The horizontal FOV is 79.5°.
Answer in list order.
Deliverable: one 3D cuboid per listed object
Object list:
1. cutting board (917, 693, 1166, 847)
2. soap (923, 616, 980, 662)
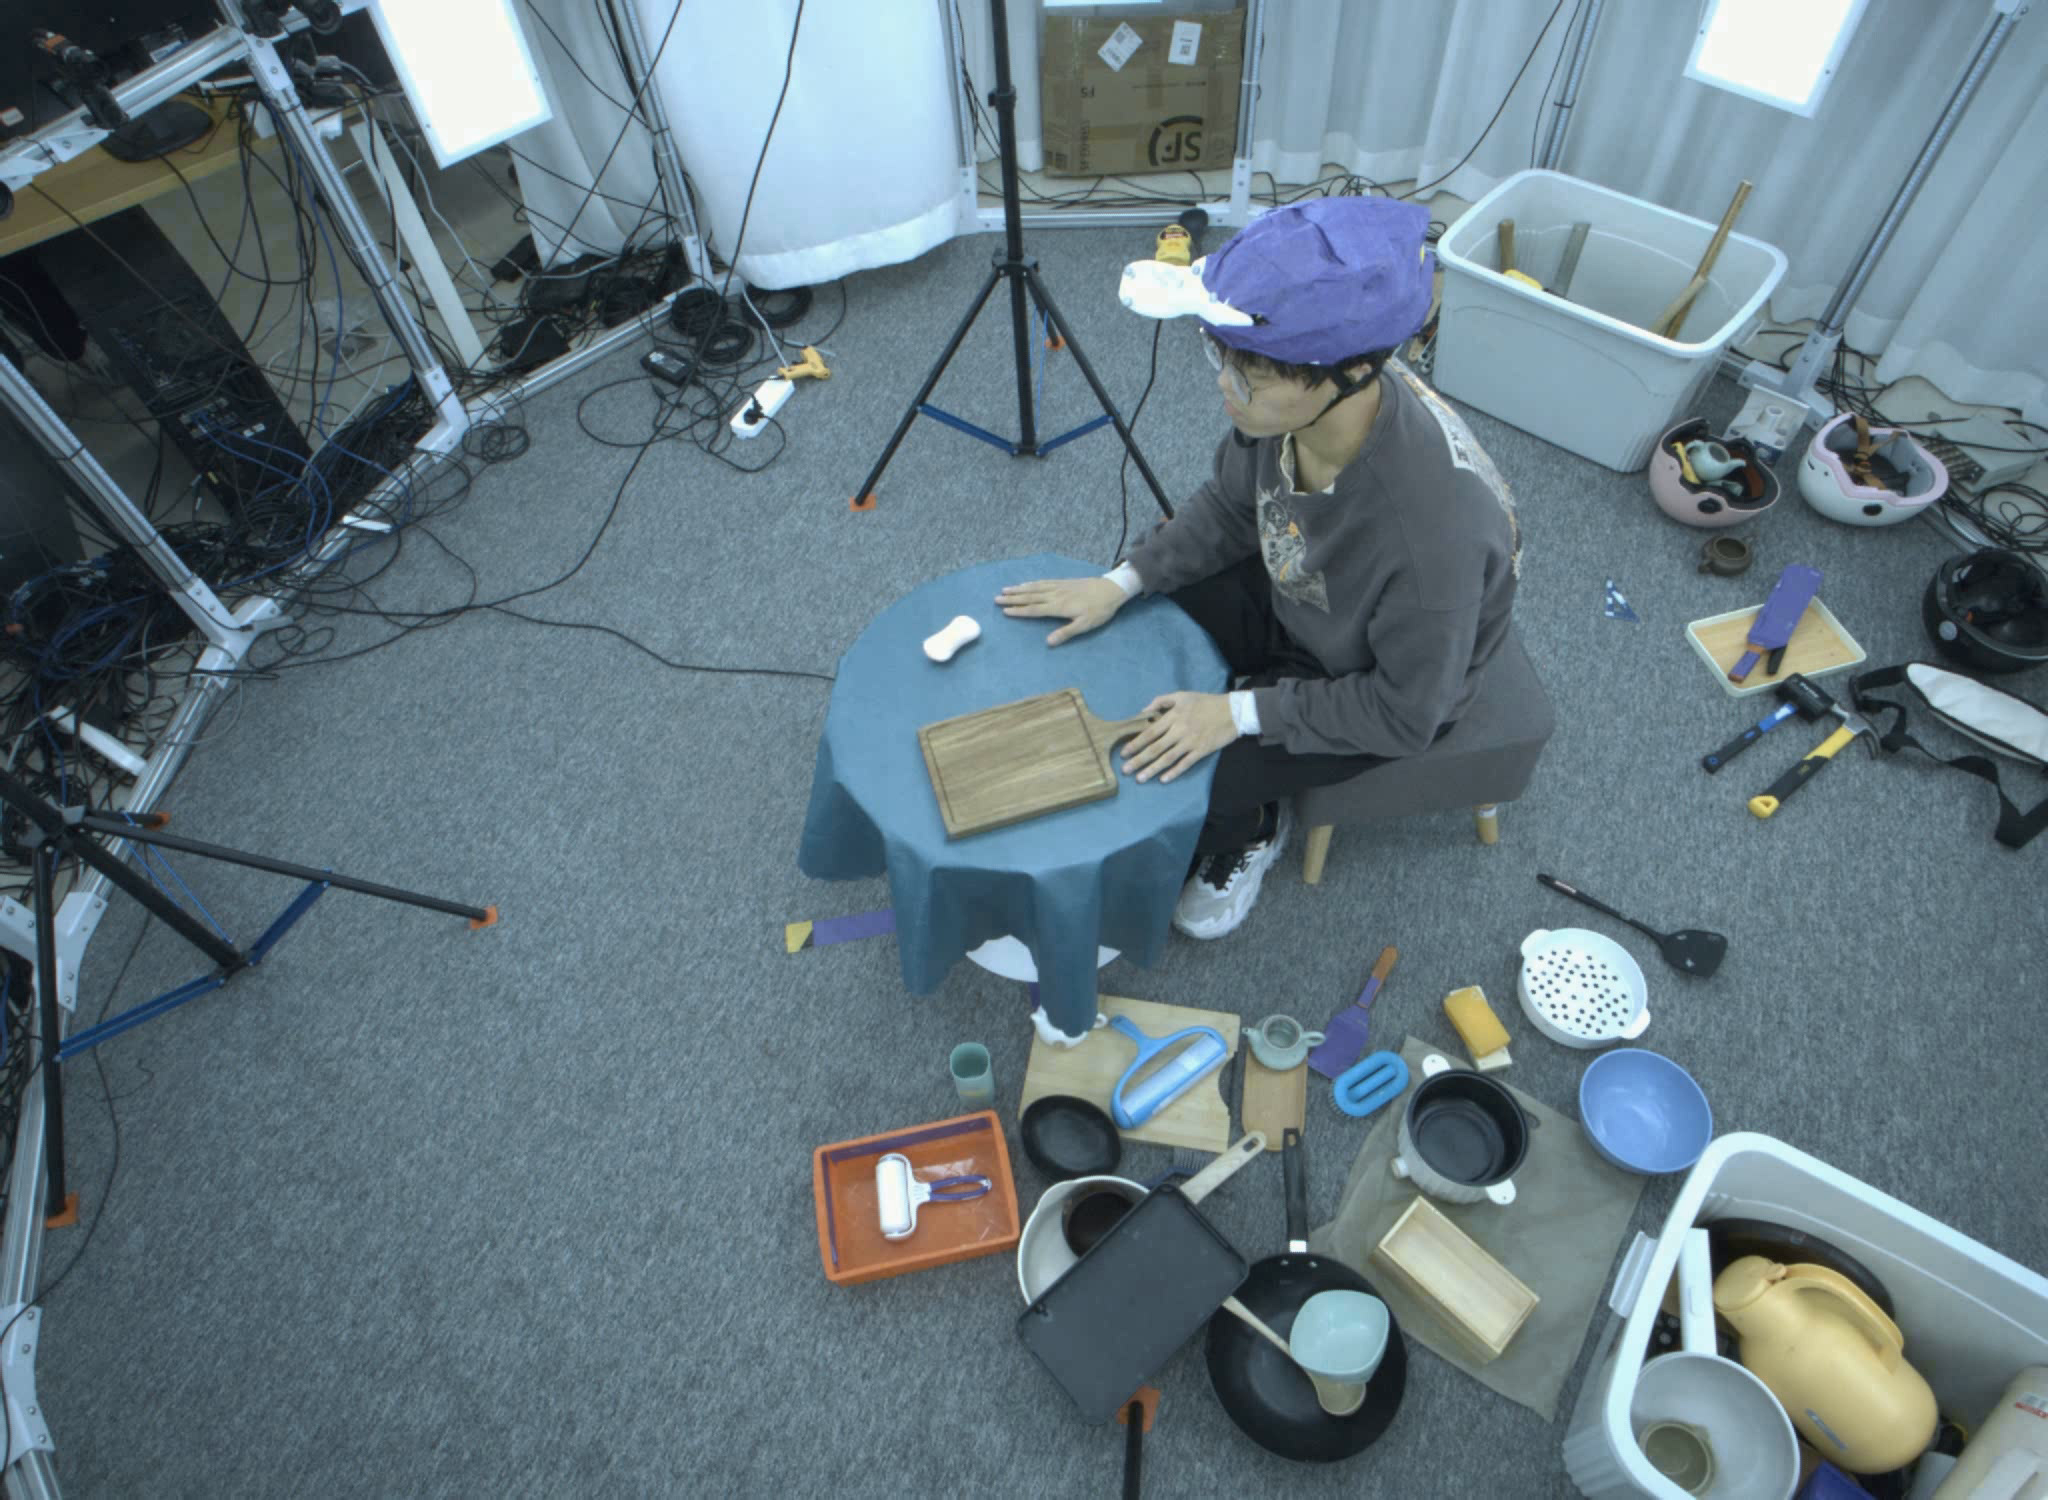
[{"bbox_3d":[0.036,0.012,1.762,0.354,0.023,0.198,-14,55,-8],"label":"cutting board"},{"bbox_3d":[-0.112,-0.172,1.895,0.095,0.030,0.049,-39,62,-25],"label":"soap"}]
